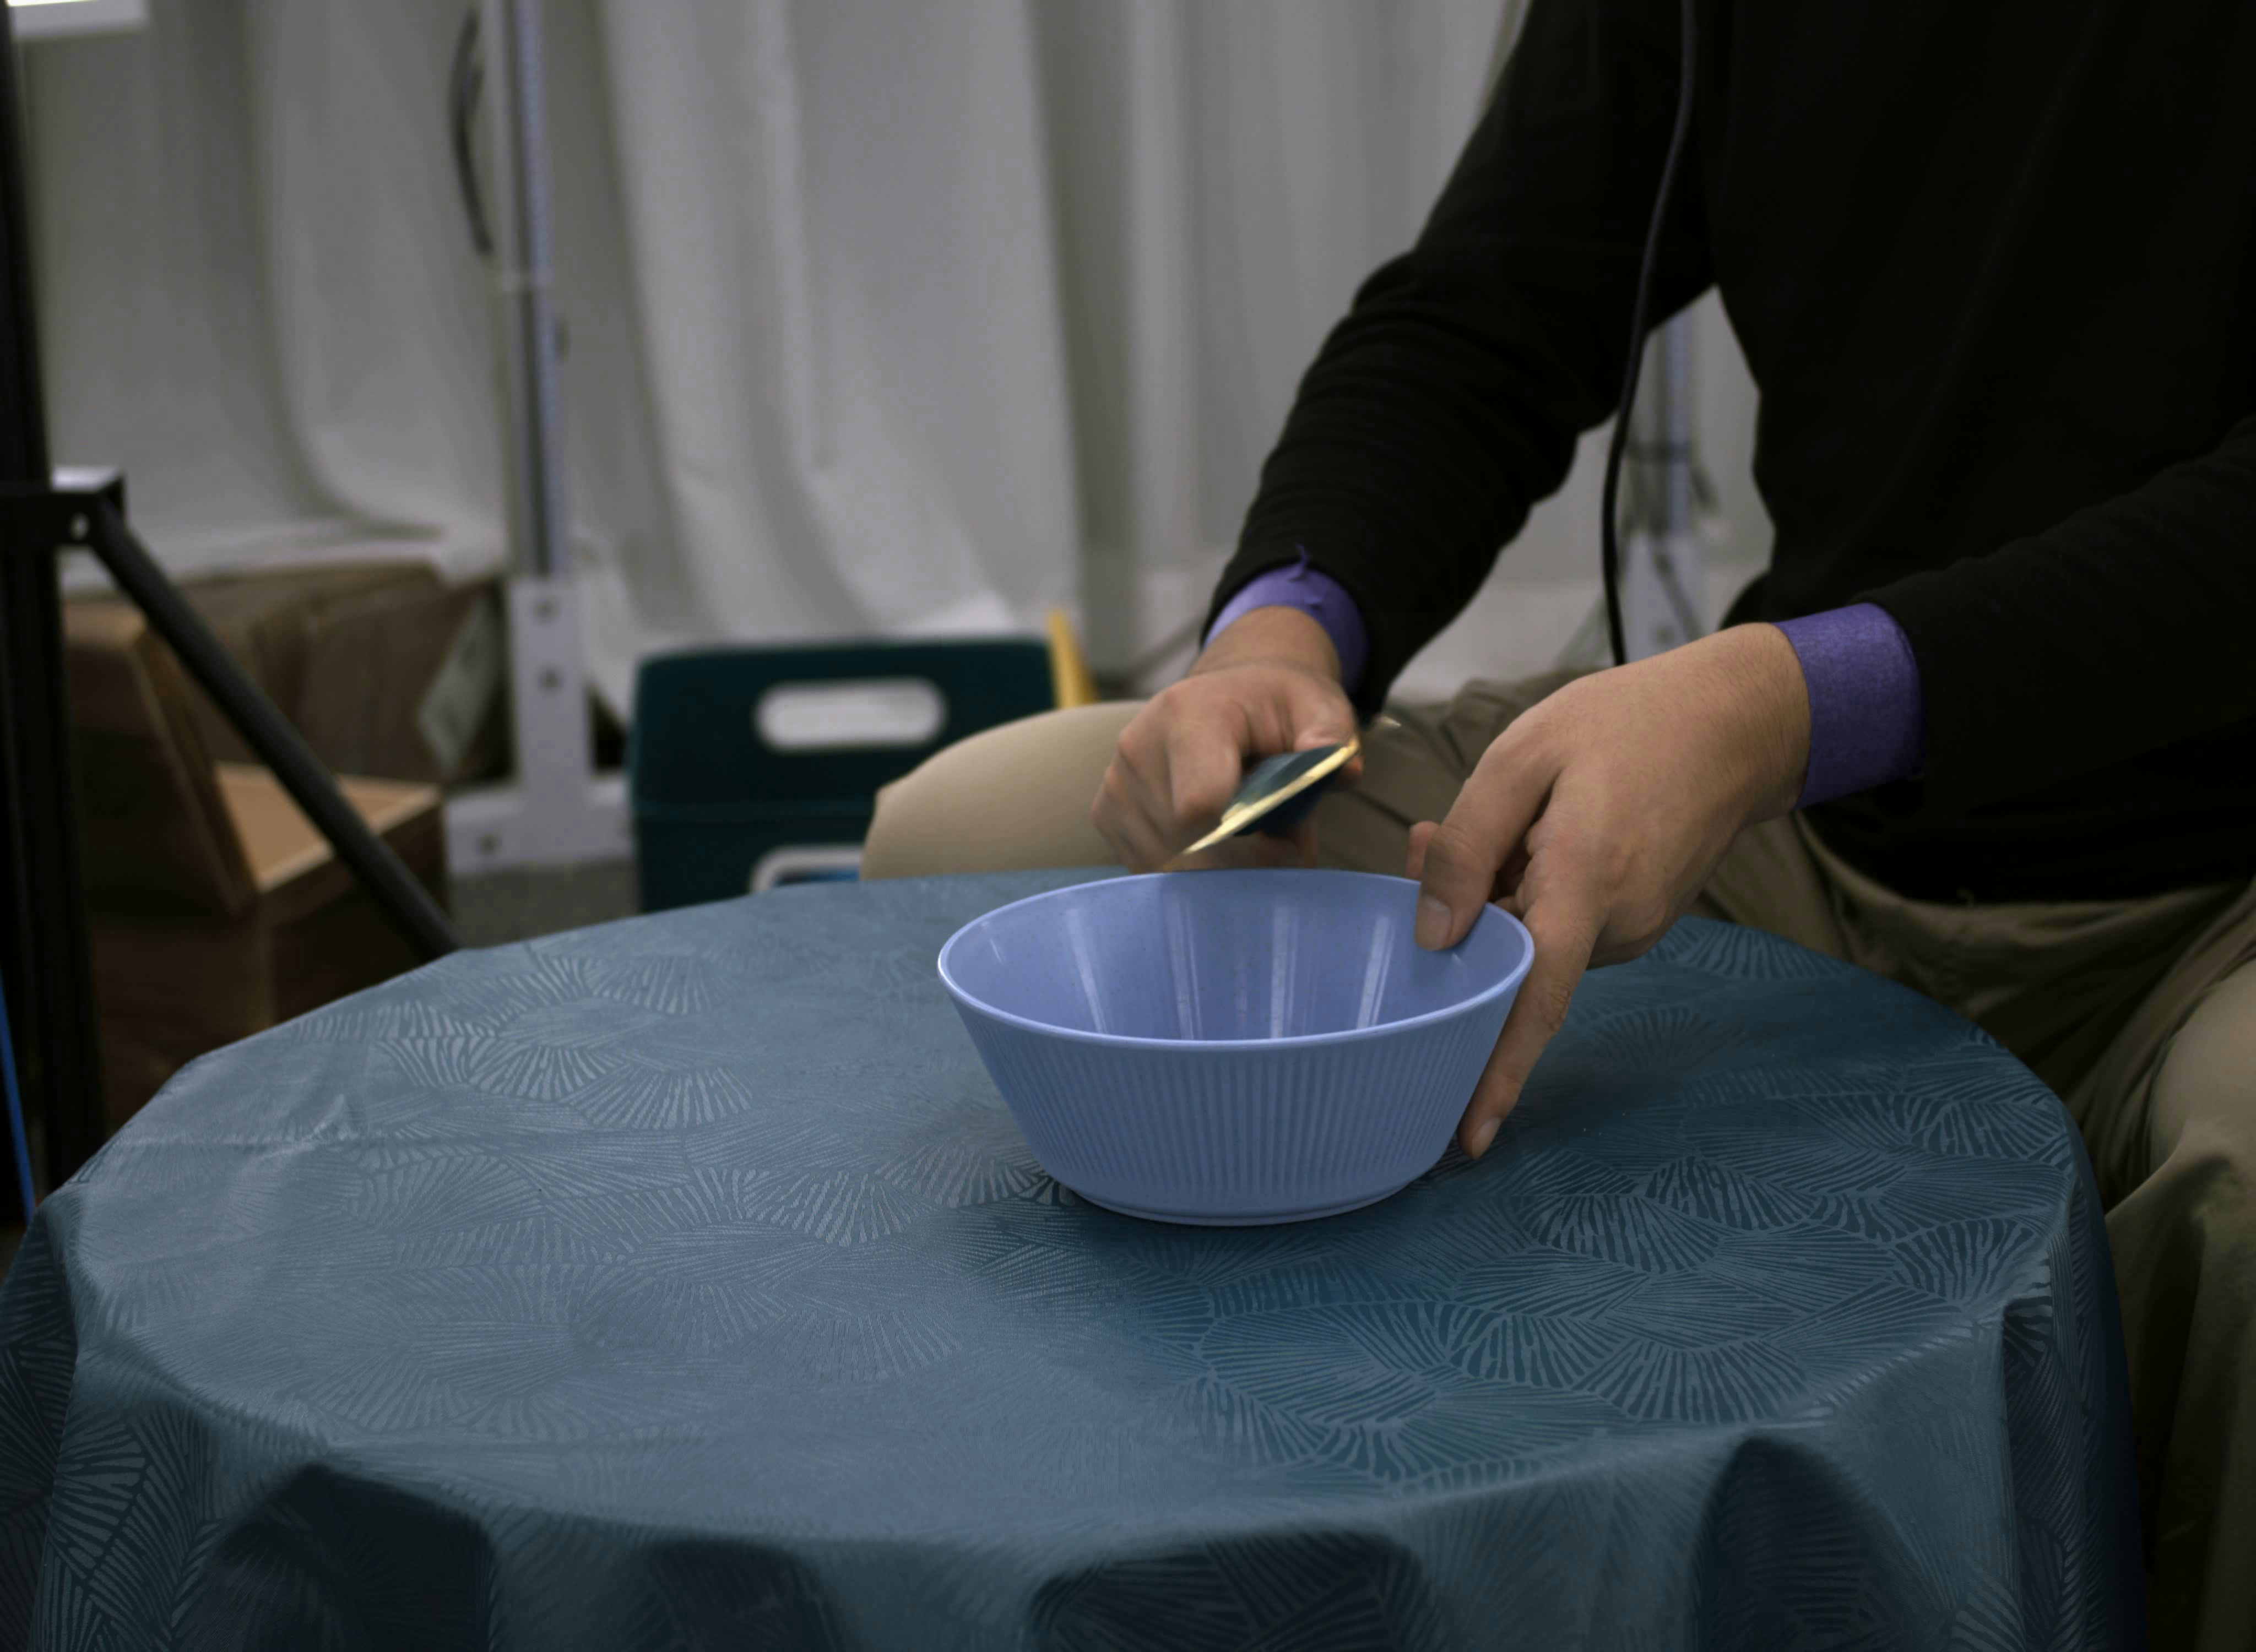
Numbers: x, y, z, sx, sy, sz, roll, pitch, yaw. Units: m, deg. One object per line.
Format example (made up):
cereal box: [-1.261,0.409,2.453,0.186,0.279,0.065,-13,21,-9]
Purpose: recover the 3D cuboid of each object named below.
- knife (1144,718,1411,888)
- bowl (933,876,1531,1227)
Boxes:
knife: [0.041,-0.002,1.666,0.080,0.027,0.290,-29,-3,-7]
bowl: [0.032,0.069,1.563,0.175,0.070,0.177,-3,15,-1]
